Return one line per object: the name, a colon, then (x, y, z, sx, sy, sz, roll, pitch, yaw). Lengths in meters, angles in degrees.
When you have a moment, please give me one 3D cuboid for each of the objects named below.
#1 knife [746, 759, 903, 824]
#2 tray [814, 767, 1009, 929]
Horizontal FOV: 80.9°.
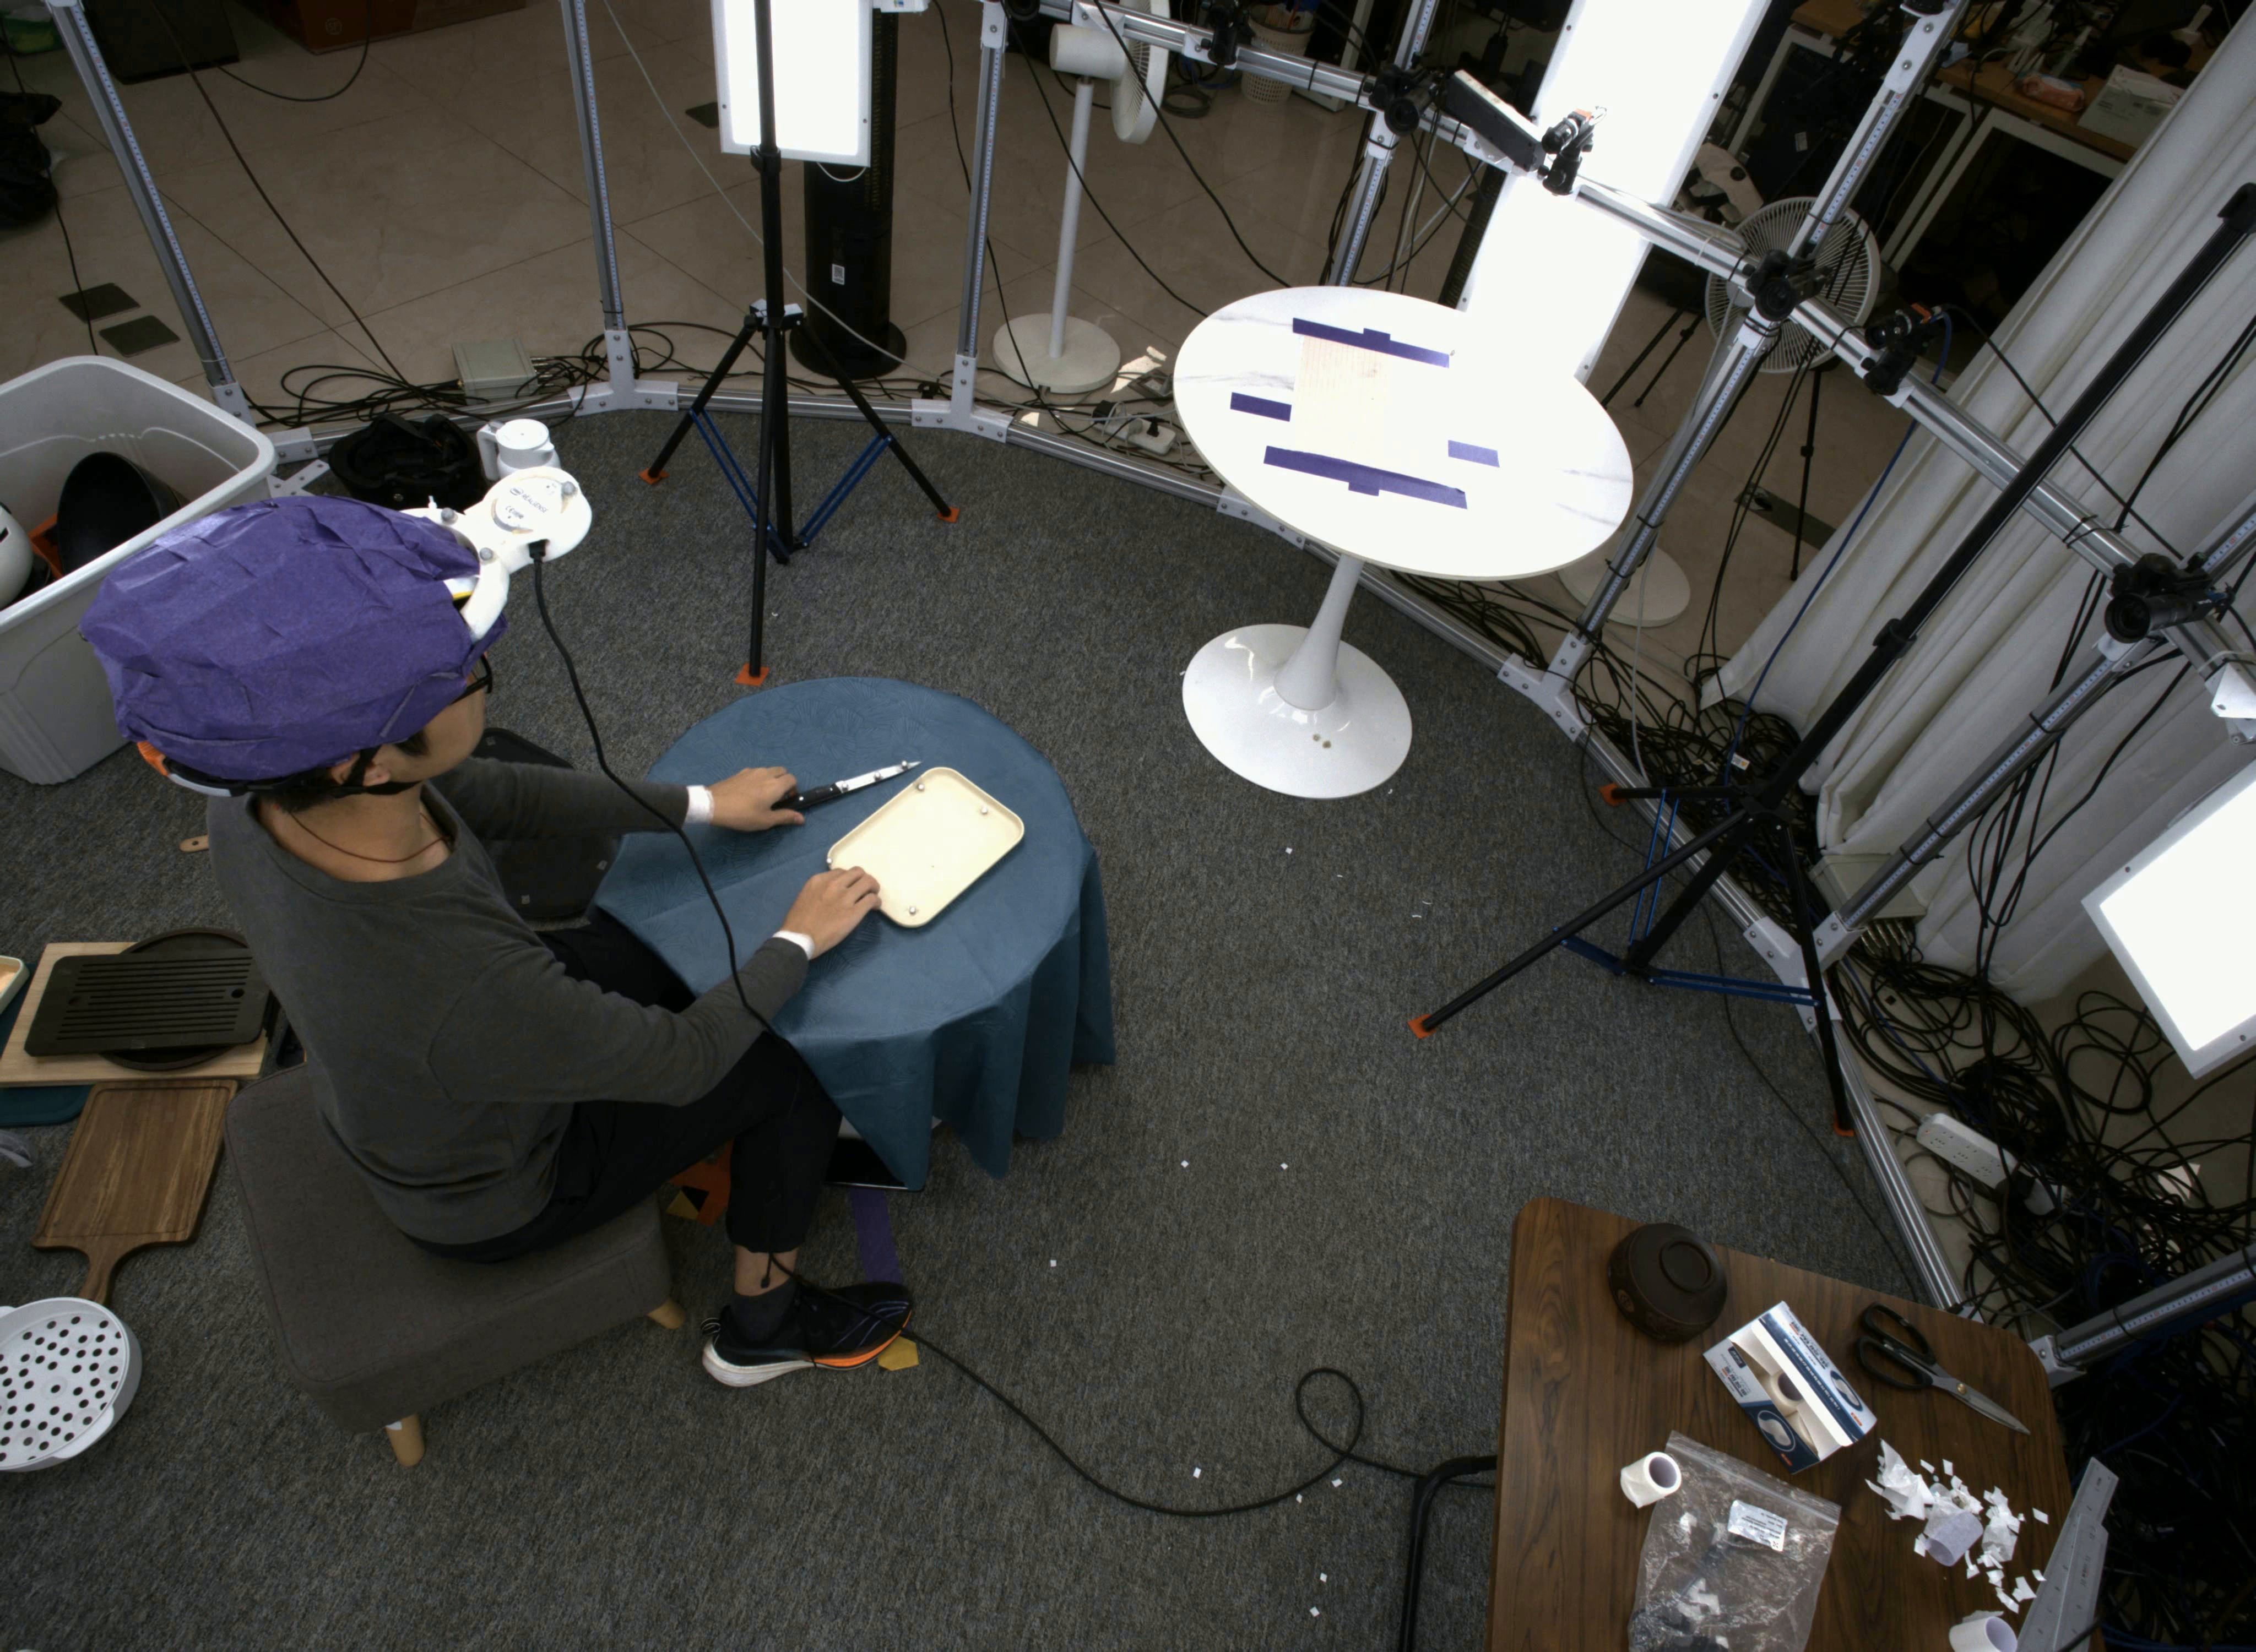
knife: (-0.408, -0.051, 1.769, 0.239, 0.016, 0.024, -24, 59, -32)
tray: (-0.287, 0.027, 1.739, 0.168, 0.018, 0.239, 36, 54, 12)
